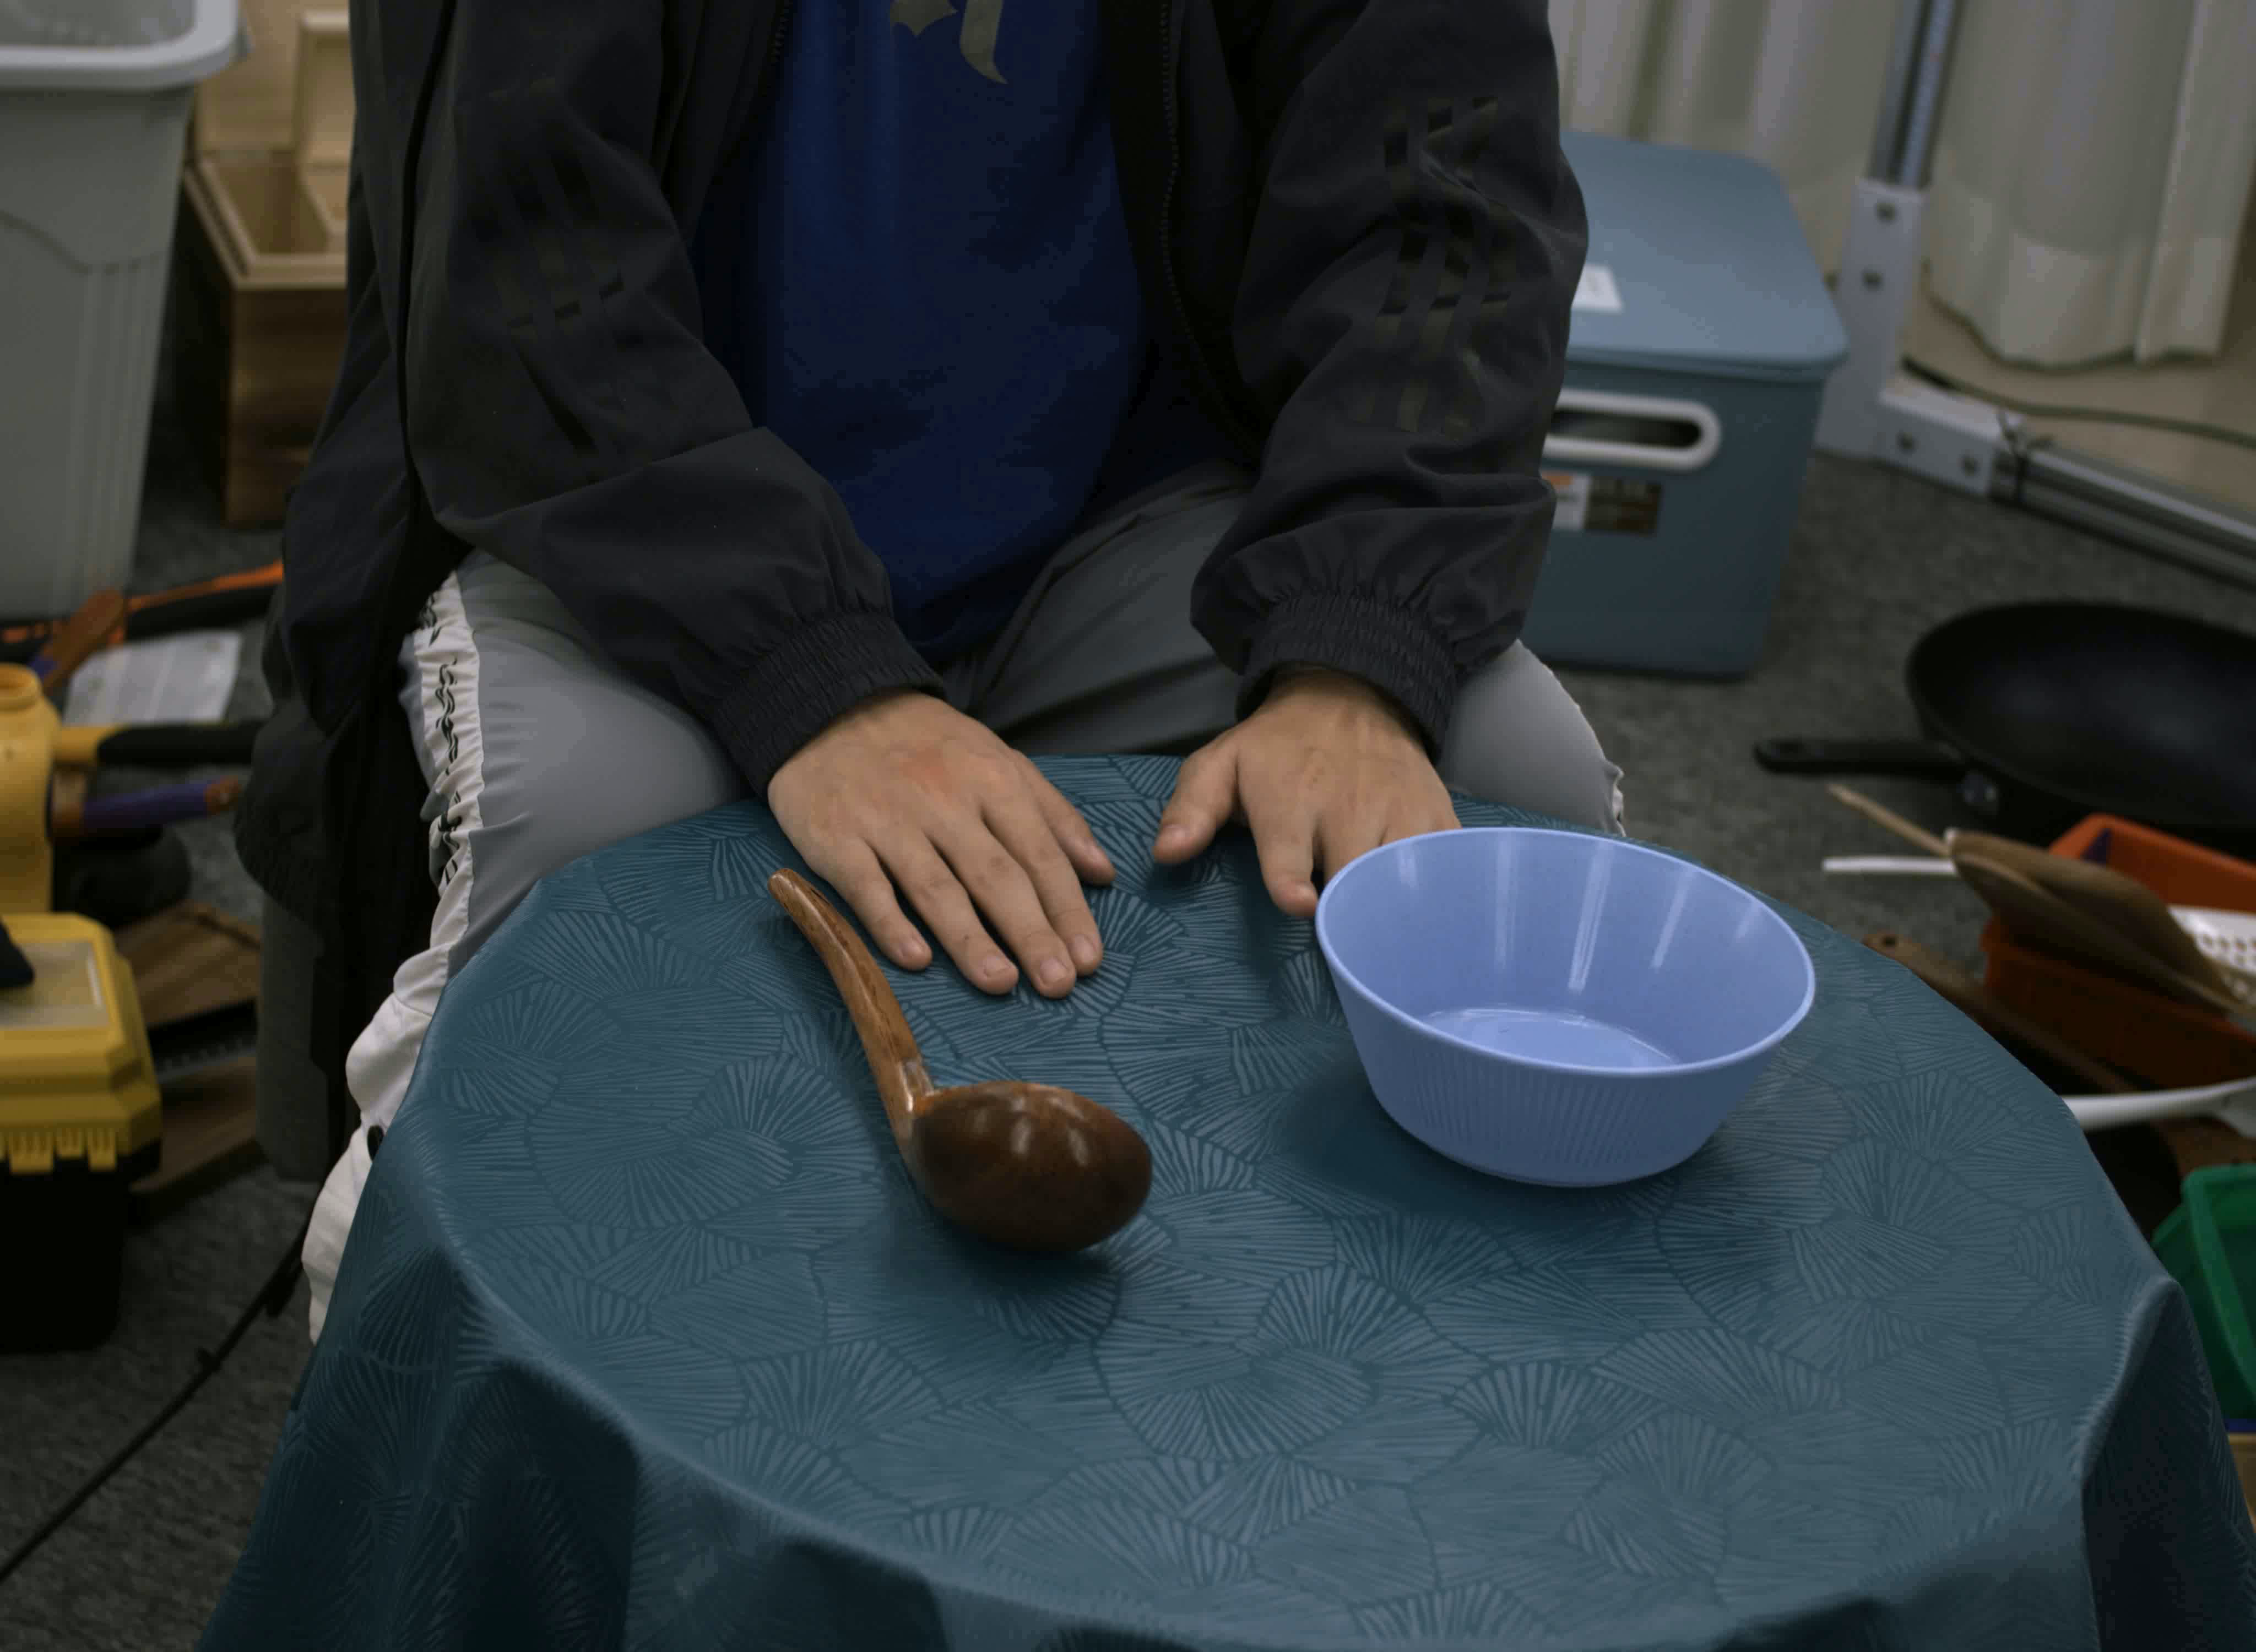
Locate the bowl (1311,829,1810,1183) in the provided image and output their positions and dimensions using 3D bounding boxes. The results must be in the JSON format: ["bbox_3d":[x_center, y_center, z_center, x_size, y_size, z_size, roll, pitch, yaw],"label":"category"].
[{"bbox_3d":[0.147,0.069,1.868,0.175,0.070,0.177,5,26,-3],"label":"bowl"}]

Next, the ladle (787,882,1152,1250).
[{"bbox_3d":[-0.061,0.063,1.833,0.081,0.076,0.276,46,7,-29],"label":"ladle"}]
